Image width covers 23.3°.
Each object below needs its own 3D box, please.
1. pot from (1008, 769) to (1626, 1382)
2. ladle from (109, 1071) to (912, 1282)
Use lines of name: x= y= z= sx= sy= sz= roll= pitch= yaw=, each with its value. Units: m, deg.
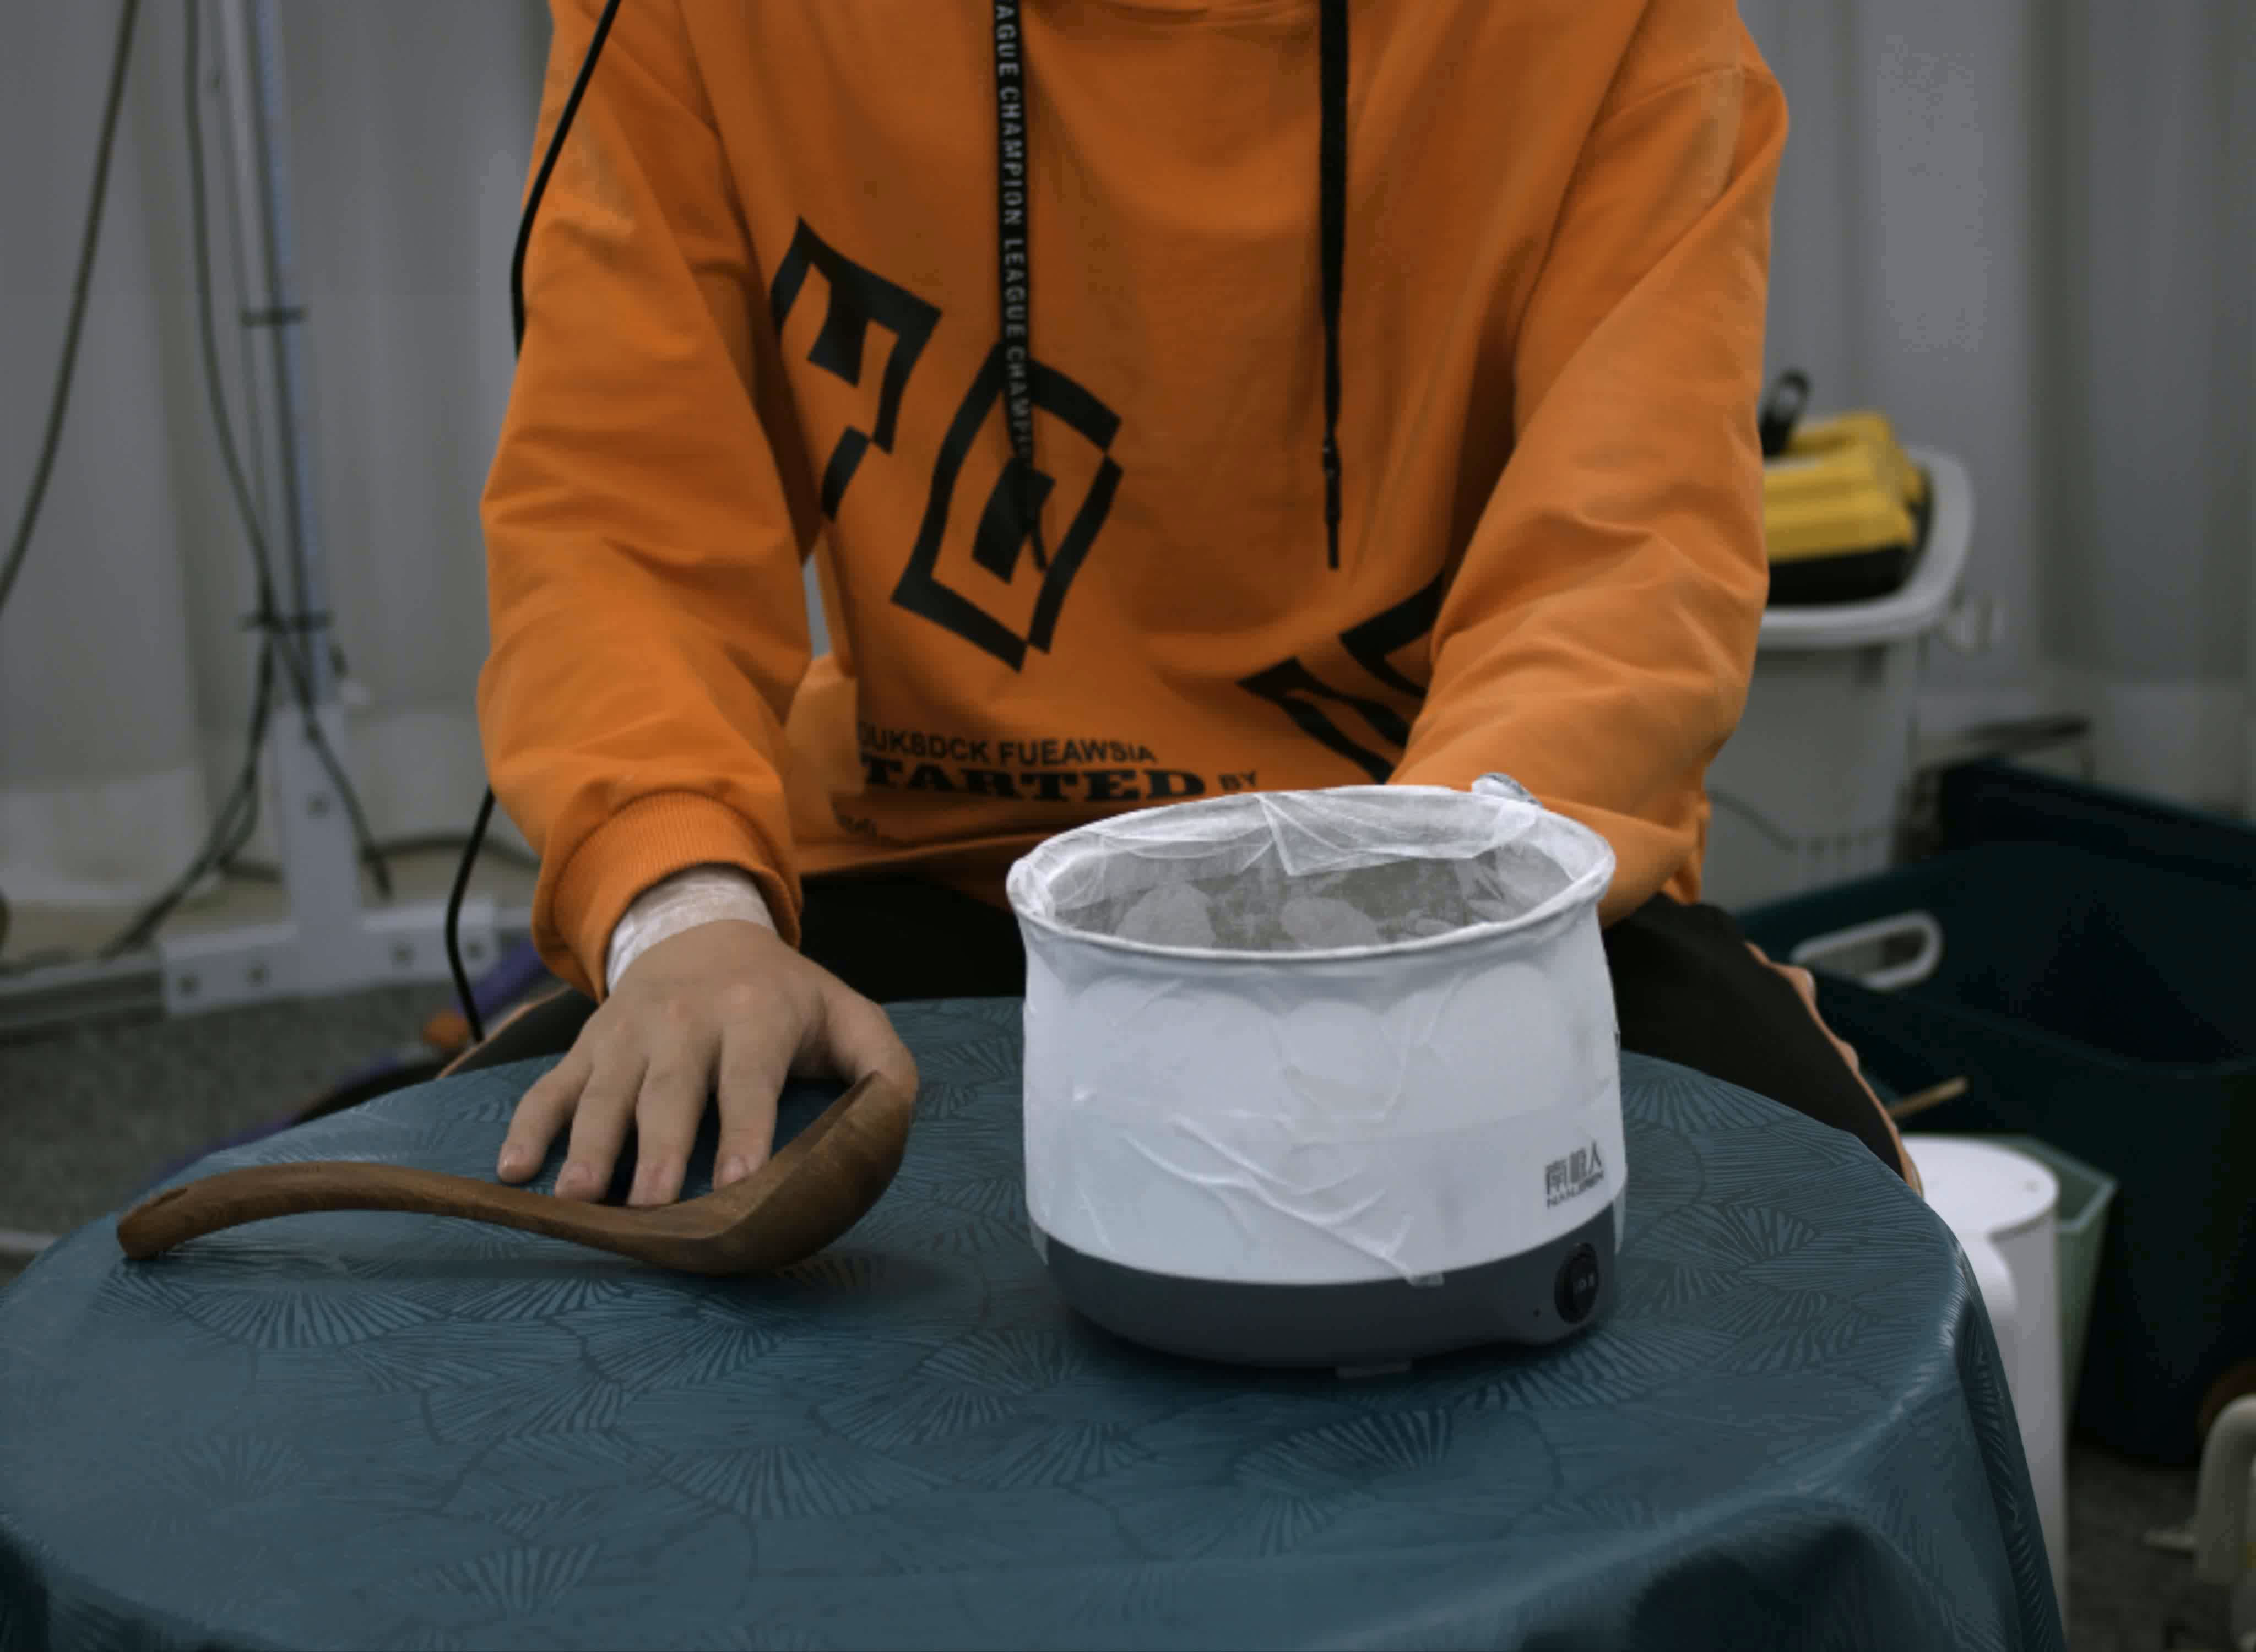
pot: x=0.072 y=0.066 z=1.618 sx=0.179 sy=0.136 sz=0.234 roll=8 pitch=18 yaw=34
ladle: x=-0.191 y=0.104 z=1.670 sx=0.260 sy=0.065 sz=0.077 roll=1 pitch=12 yaw=15
